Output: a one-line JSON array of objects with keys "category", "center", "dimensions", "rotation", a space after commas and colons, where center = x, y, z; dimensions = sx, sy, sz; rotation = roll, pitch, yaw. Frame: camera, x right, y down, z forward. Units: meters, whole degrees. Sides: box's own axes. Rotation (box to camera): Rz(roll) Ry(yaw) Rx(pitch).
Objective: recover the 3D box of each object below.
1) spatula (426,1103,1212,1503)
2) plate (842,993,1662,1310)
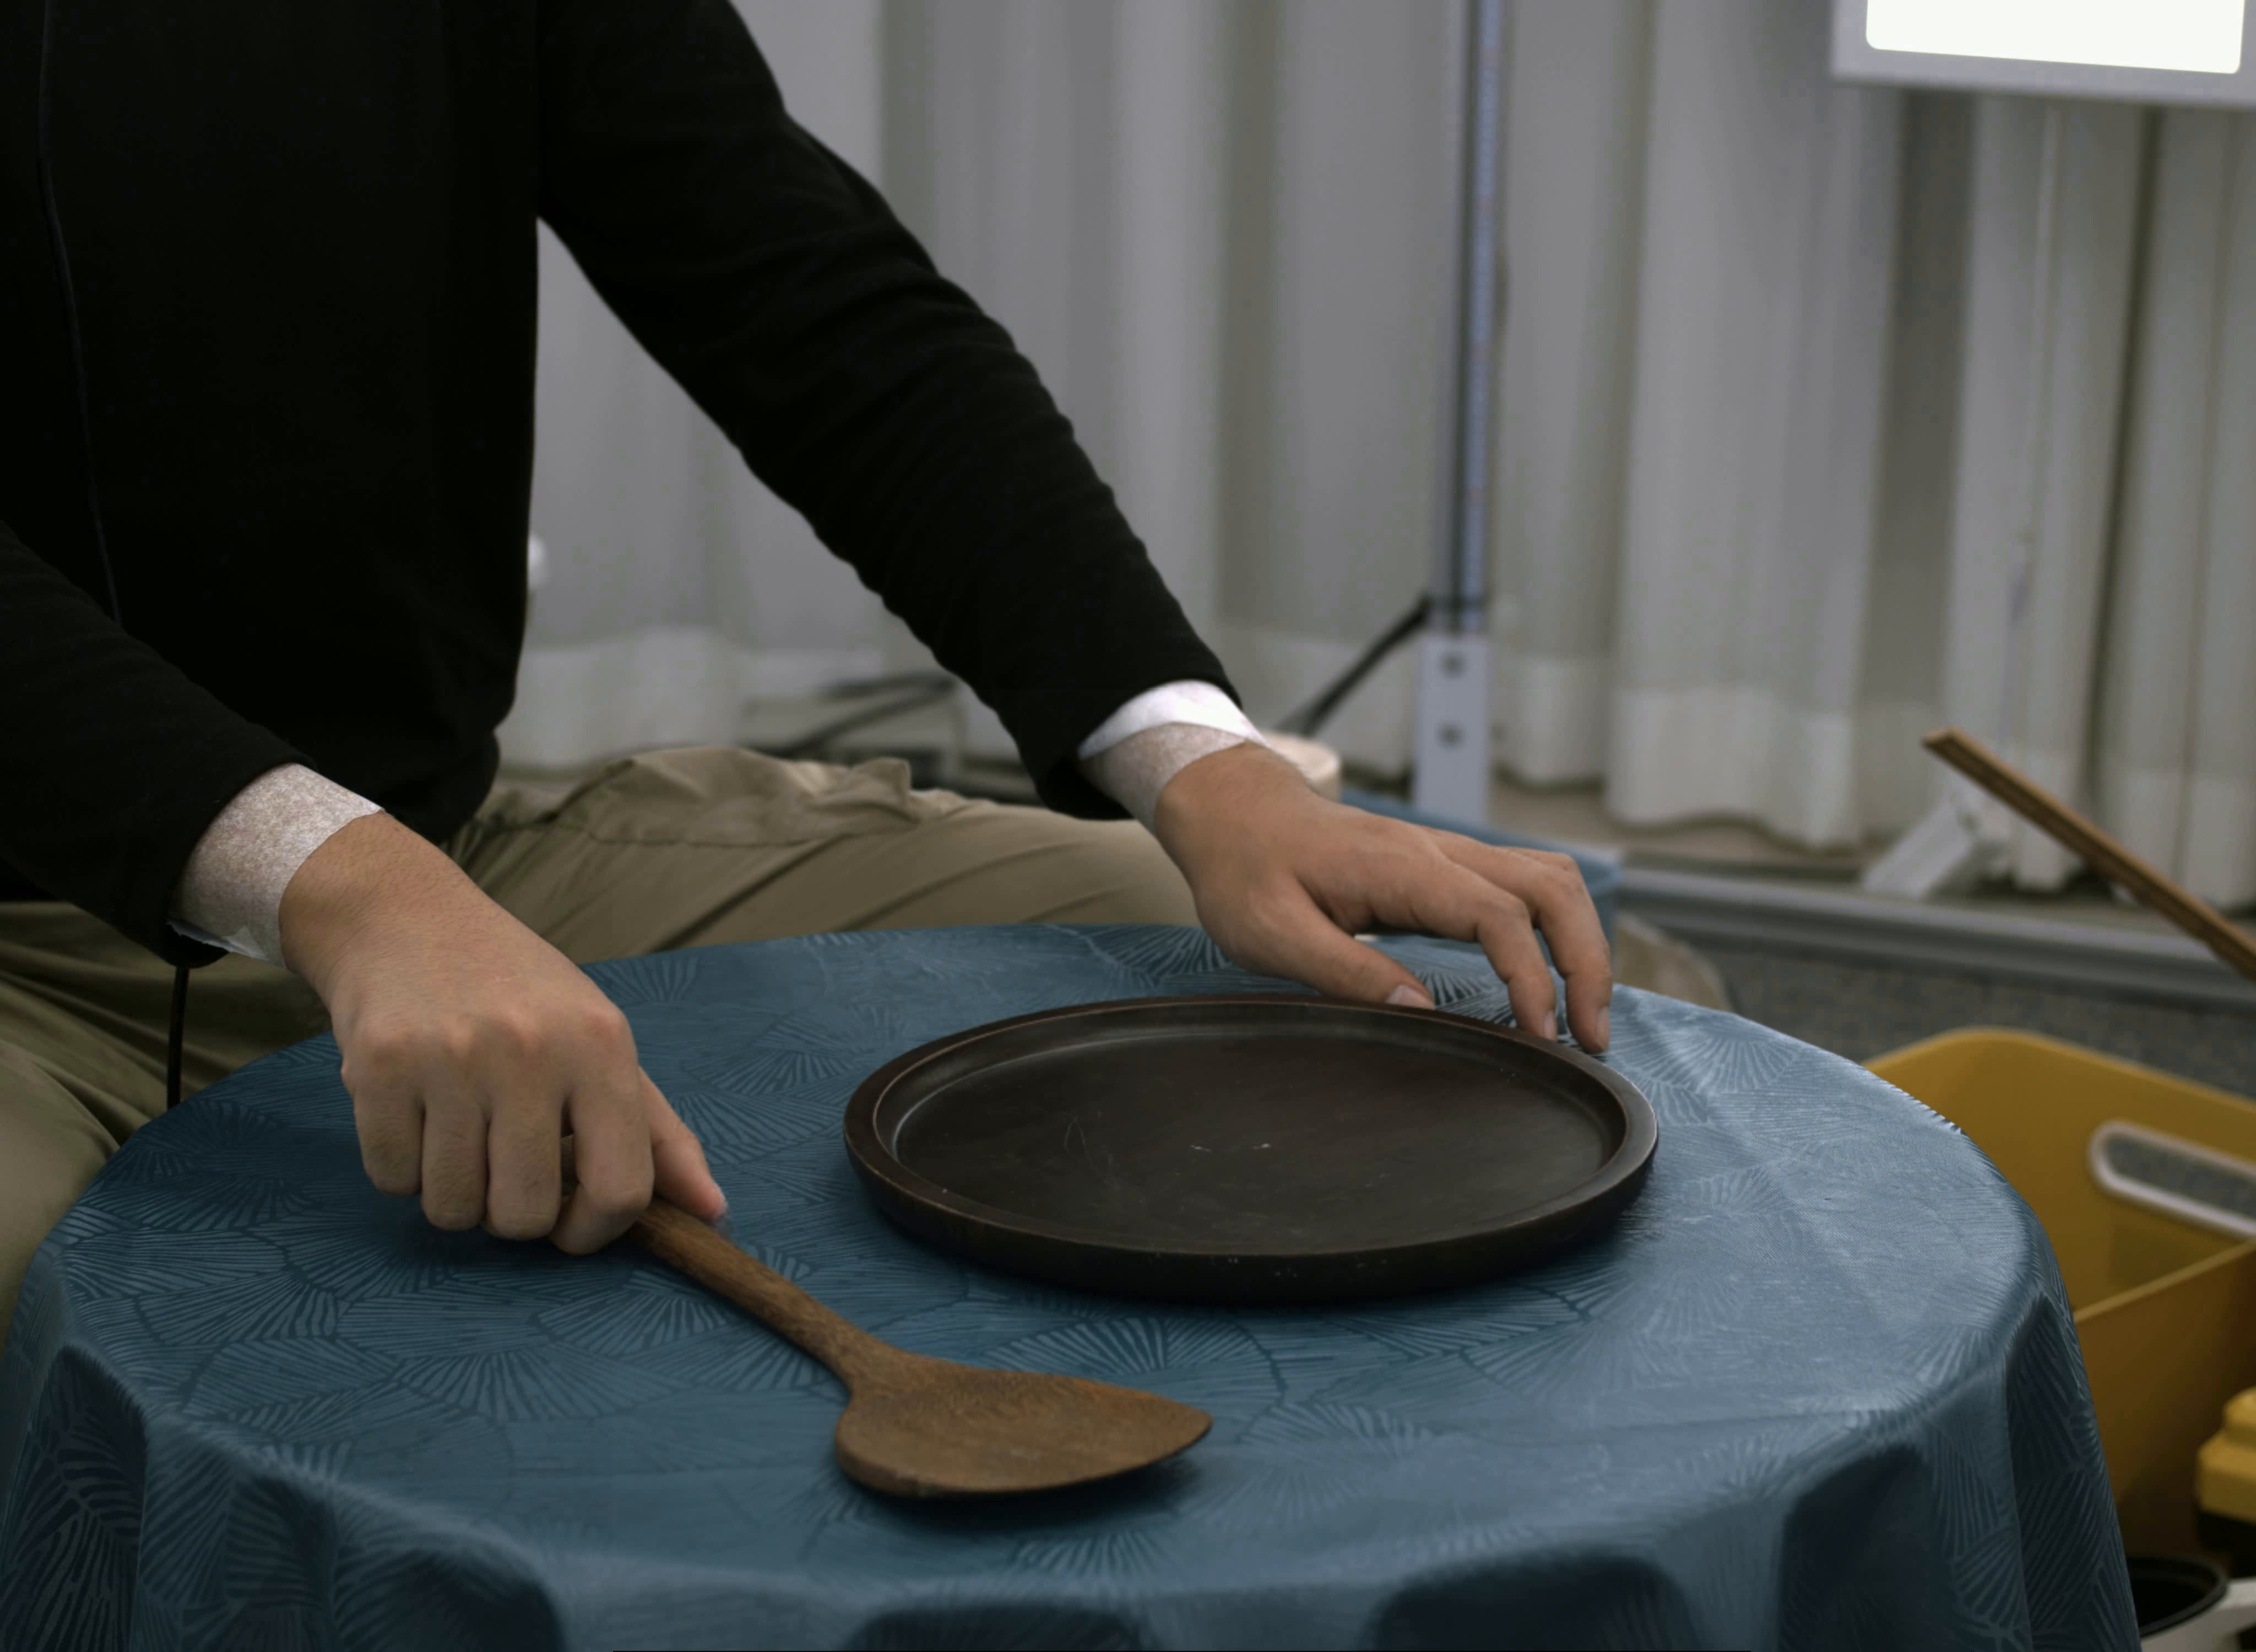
[{"category": "spatula", "center": [-0.112, 0.131, 1.522], "dimensions": [0.096, 0.016, 0.381], "rotation": [-9, 18, -32]}, {"category": "plate", "center": [0.038, 0.098, 1.628], "dimensions": [0.254, 0.029, 0.253], "rotation": [0, 17, 0]}]
